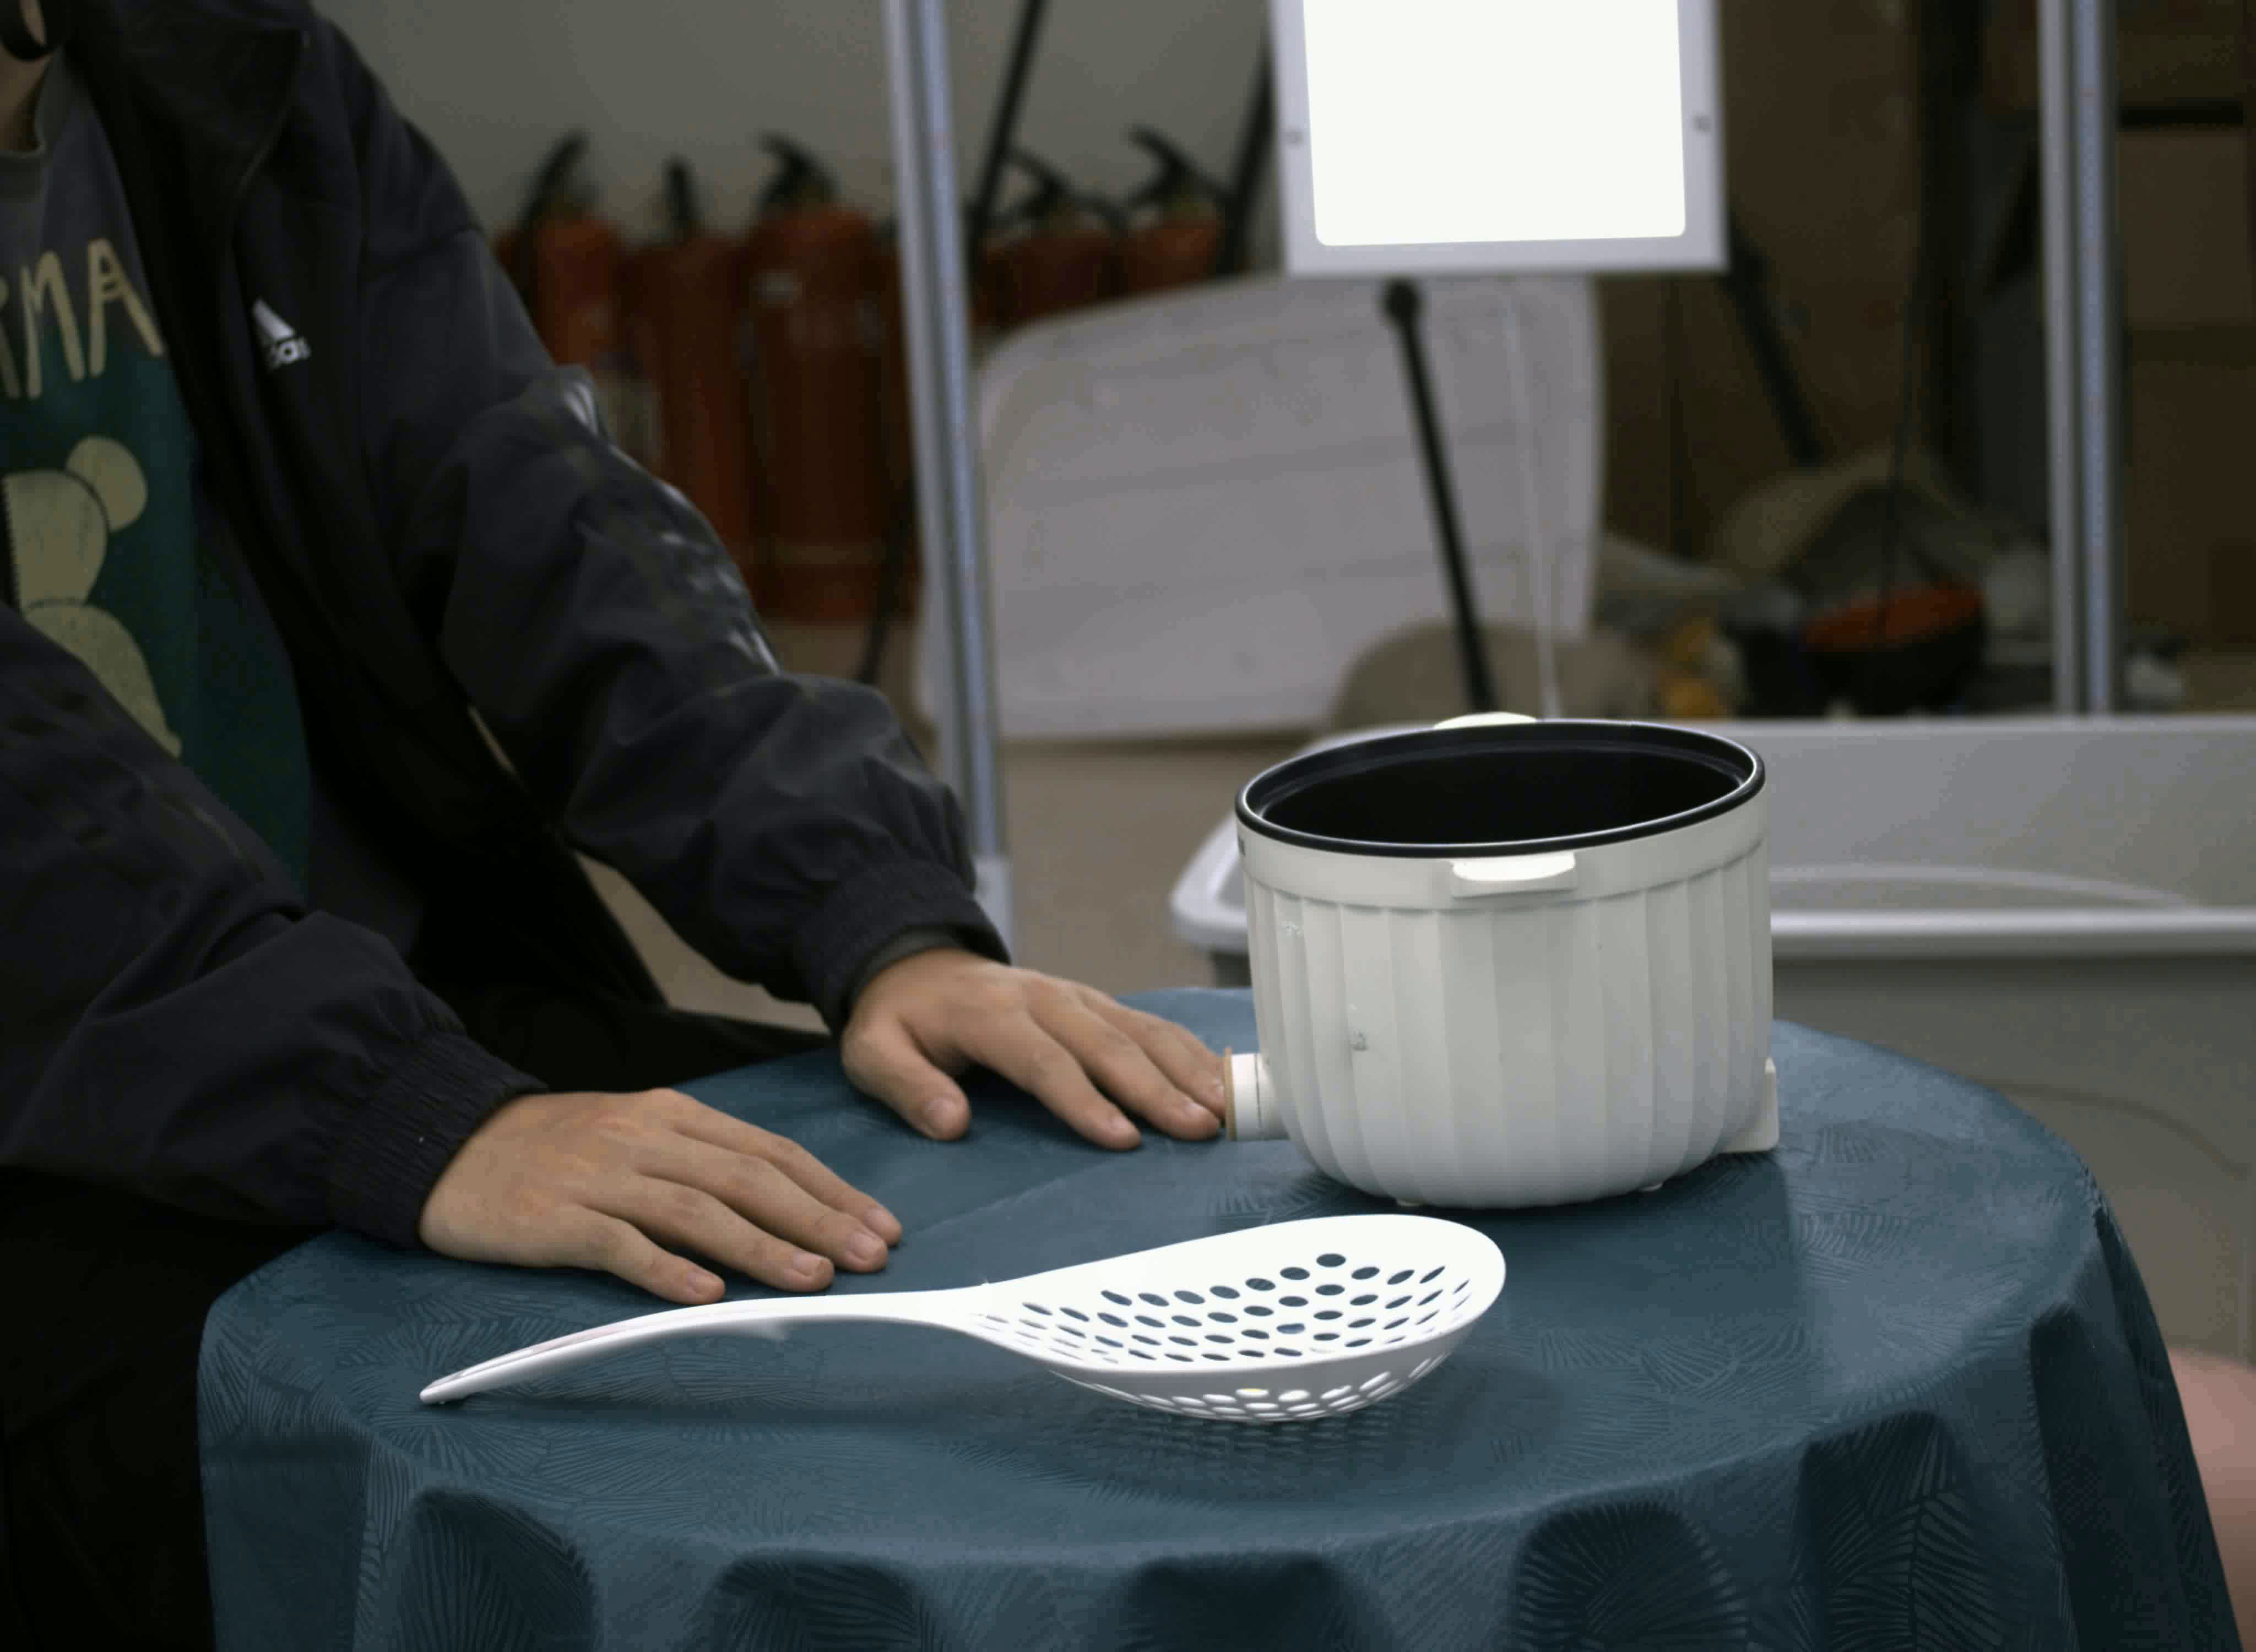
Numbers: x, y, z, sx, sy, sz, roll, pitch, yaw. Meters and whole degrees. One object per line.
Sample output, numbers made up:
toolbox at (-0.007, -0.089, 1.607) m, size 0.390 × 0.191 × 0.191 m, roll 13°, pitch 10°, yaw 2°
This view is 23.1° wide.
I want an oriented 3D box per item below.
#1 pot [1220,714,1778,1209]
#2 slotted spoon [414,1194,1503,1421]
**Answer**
pot at (0.126, 0.049, 1.876) m, size 0.190 × 0.143 × 0.239 m, roll -2°, pitch 12°, yaw 2°
slotted spoon at (-0.055, 0.158, 1.698) m, size 0.351 × 0.050 × 0.135 m, roll -1°, pitch 16°, yaw 16°
